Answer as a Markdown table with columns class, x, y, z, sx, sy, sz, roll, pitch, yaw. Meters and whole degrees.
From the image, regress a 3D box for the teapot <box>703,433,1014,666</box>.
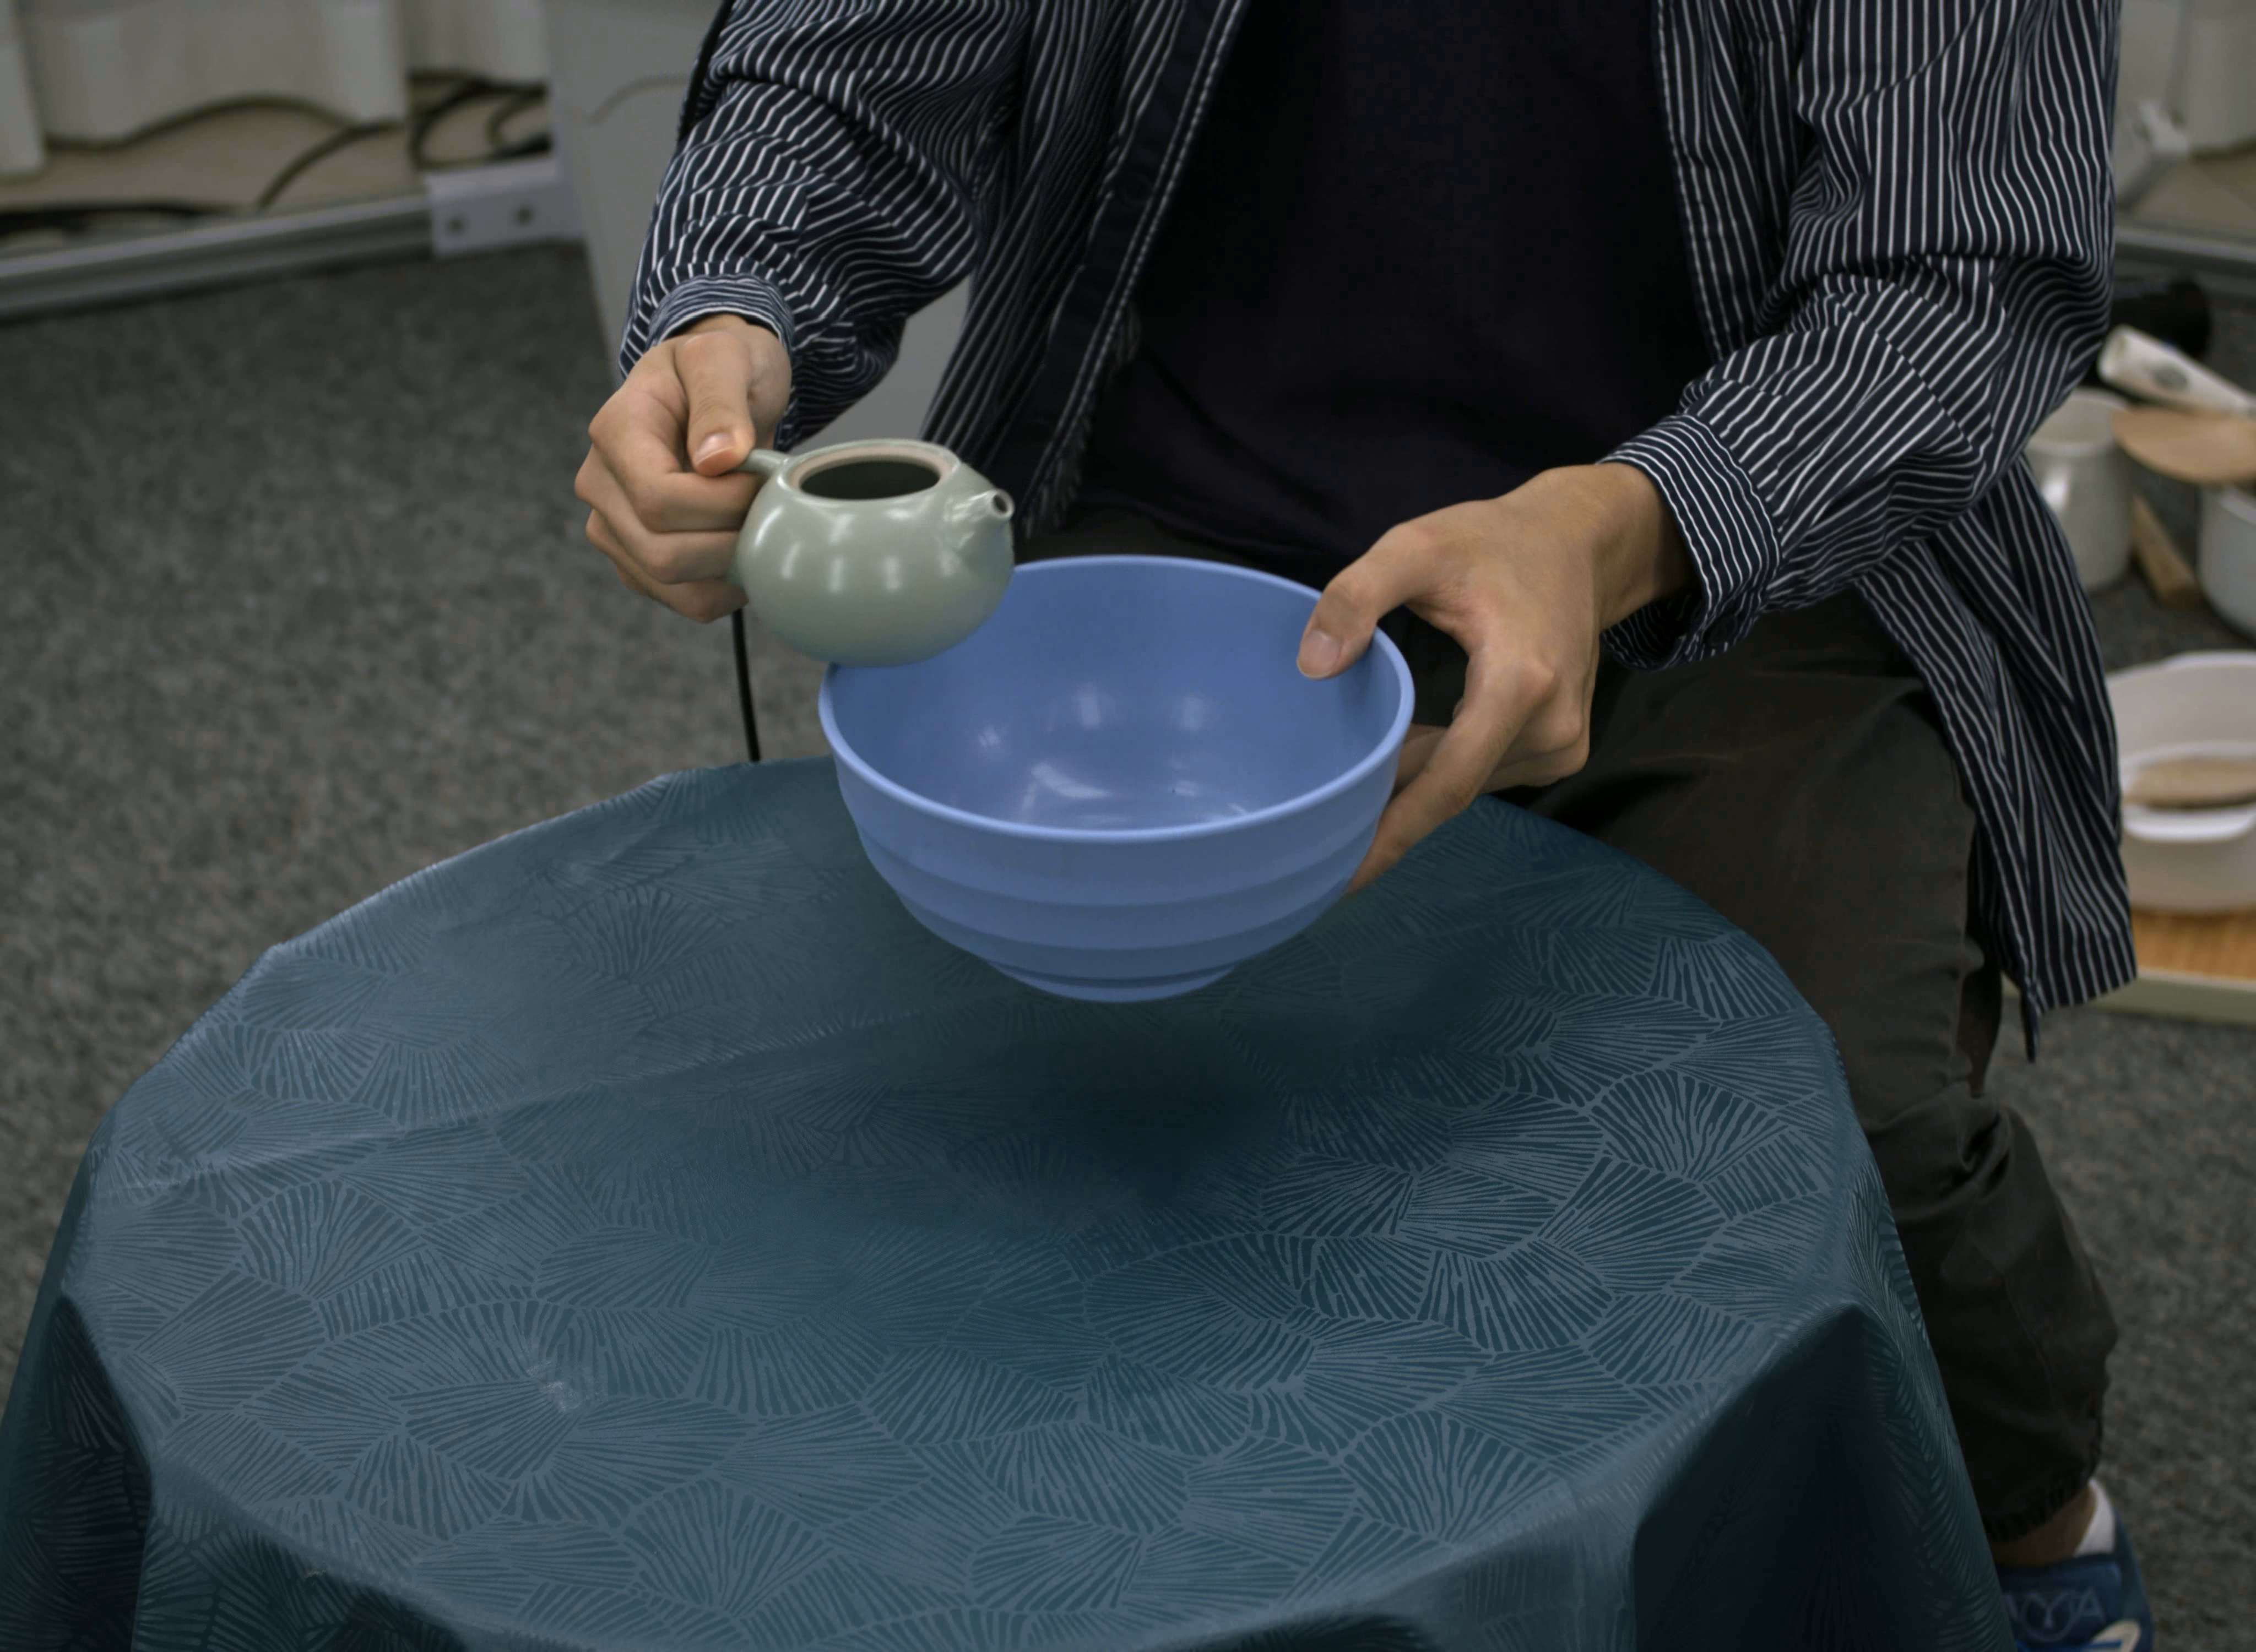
| class | x | y | z | sx | sy | sz | roll | pitch | yaw |
| --- | --- | --- | --- | --- | --- | --- | --- | --- | --- |
| teapot | -0.091 | -0.093 | 1.866 | 0.128 | 0.060 | 0.093 | 13 | 30 | 35 |

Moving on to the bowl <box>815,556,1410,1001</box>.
| class | x | y | z | sx | sy | sz | roll | pitch | yaw |
| --- | --- | --- | --- | --- | --- | --- | --- | --- | --- |
| bowl | -0.004 | -0.005 | 1.866 | 0.195 | 0.094 | 0.199 | -1 | 28 | 1 |
